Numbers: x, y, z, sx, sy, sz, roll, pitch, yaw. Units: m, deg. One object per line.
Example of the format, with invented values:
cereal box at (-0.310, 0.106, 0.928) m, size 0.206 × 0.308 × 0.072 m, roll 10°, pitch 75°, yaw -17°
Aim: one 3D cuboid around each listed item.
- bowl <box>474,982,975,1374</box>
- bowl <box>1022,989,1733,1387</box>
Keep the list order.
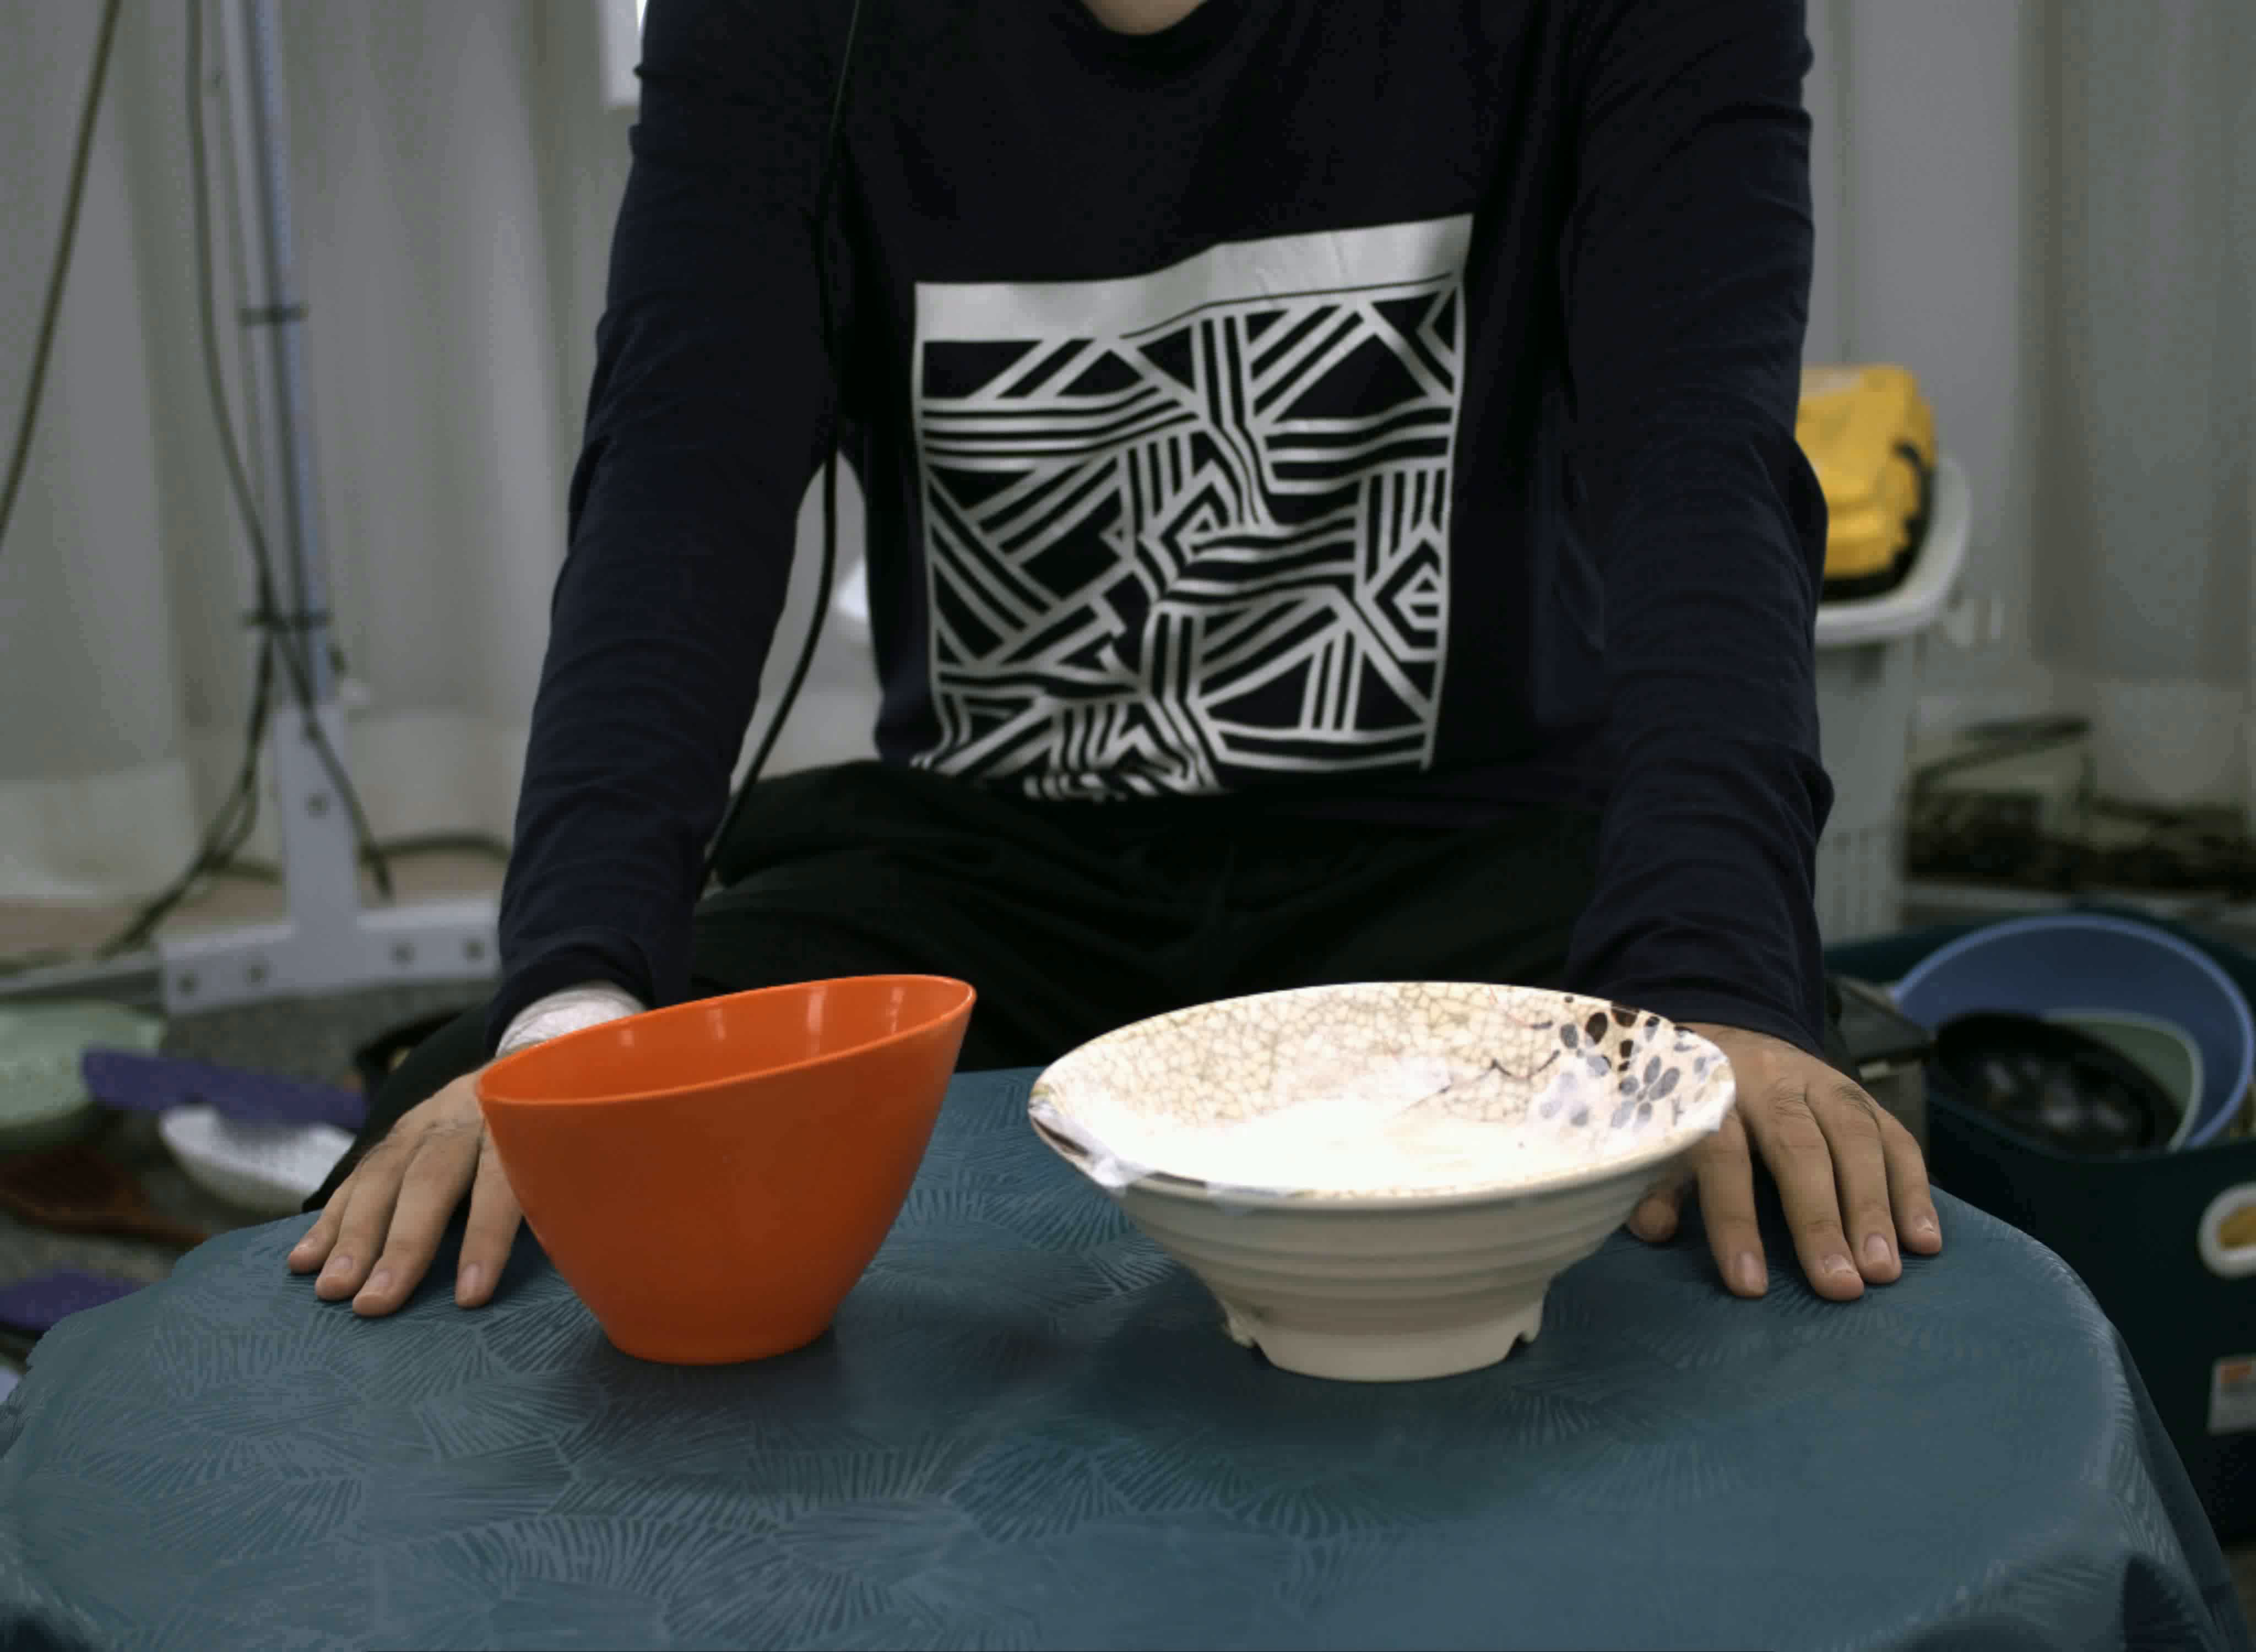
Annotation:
bowl at (-0.115, 0.102, 1.594) m, size 0.147 × 0.104 × 0.149 m, roll -3°, pitch 13°, yaw 1°
bowl at (0.072, 0.111, 1.572) m, size 0.203 × 0.077 × 0.205 m, roll -1°, pitch 13°, yaw 0°
